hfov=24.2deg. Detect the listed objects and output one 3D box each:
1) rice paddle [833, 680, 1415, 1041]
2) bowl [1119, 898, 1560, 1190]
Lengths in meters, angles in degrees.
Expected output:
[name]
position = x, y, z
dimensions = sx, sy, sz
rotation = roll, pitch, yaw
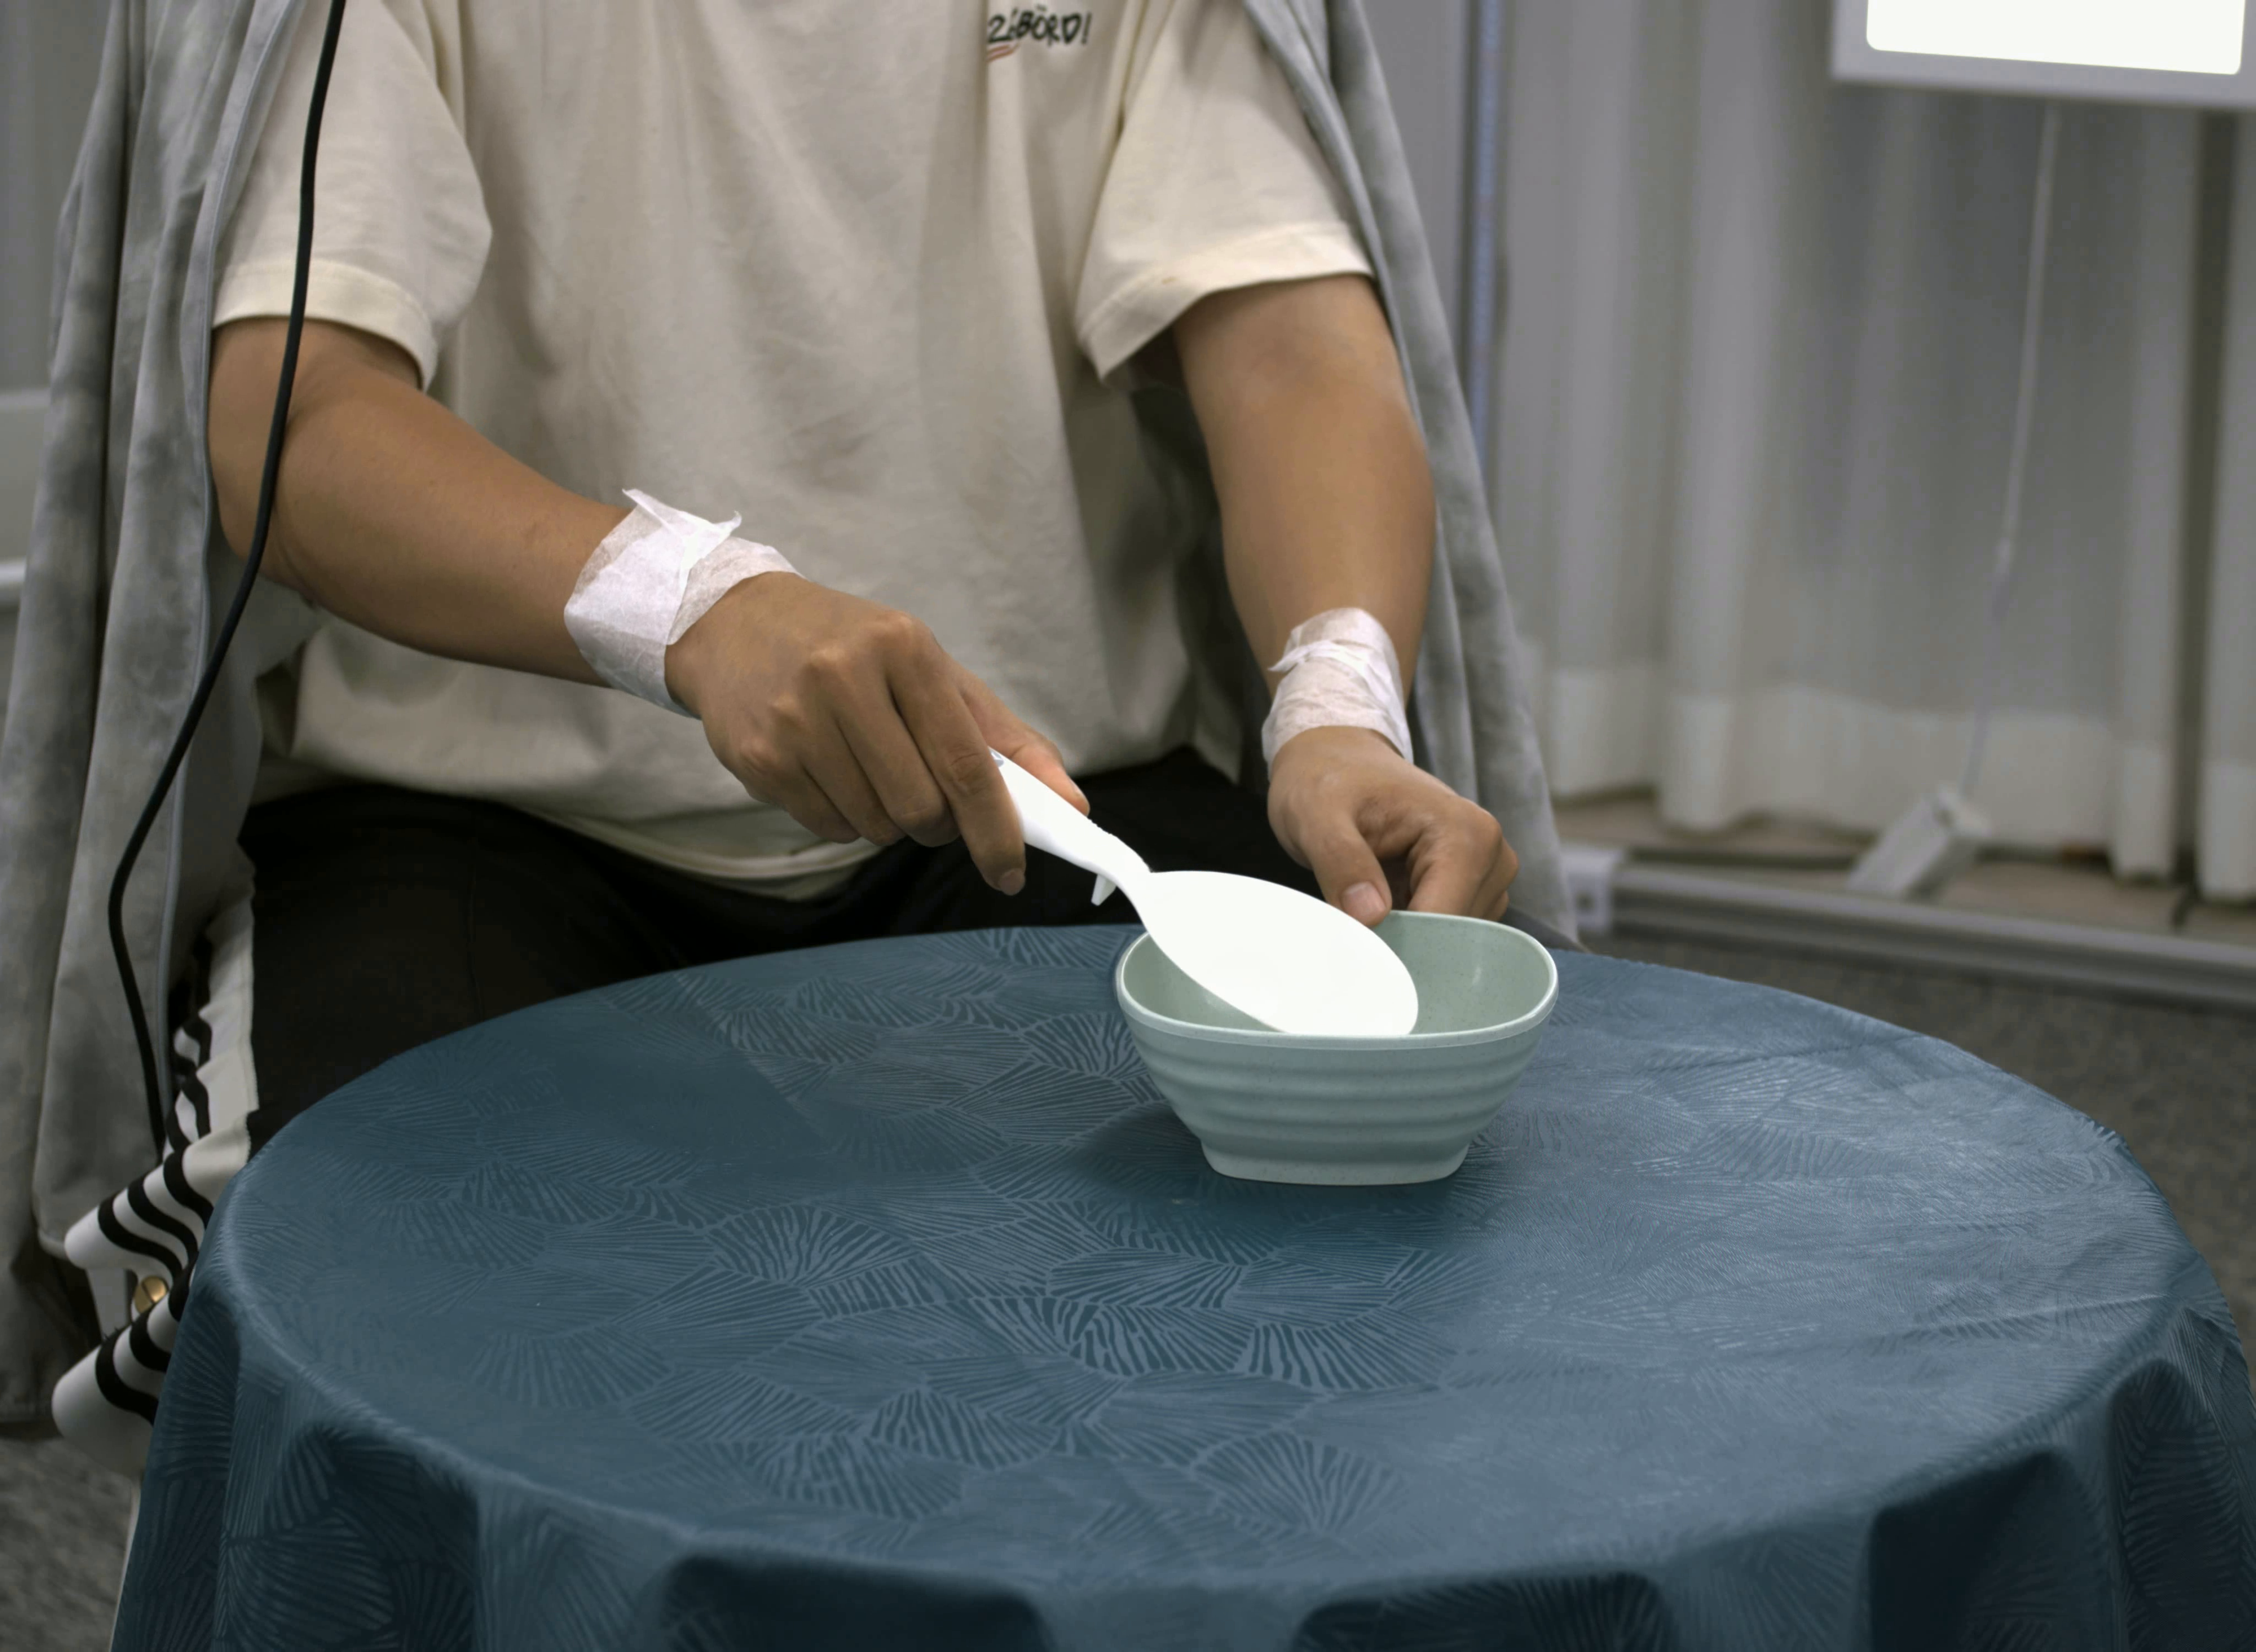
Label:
[rice paddle]
position = 0.001, 0.013, 1.661
dimensions = 0.204, 0.029, 0.069
rotation = 29, 38, 13
[bowl]
position = 0.067, 0.072, 1.665
dimensions = 0.151, 0.059, 0.150
rotation = 0, 18, 1
